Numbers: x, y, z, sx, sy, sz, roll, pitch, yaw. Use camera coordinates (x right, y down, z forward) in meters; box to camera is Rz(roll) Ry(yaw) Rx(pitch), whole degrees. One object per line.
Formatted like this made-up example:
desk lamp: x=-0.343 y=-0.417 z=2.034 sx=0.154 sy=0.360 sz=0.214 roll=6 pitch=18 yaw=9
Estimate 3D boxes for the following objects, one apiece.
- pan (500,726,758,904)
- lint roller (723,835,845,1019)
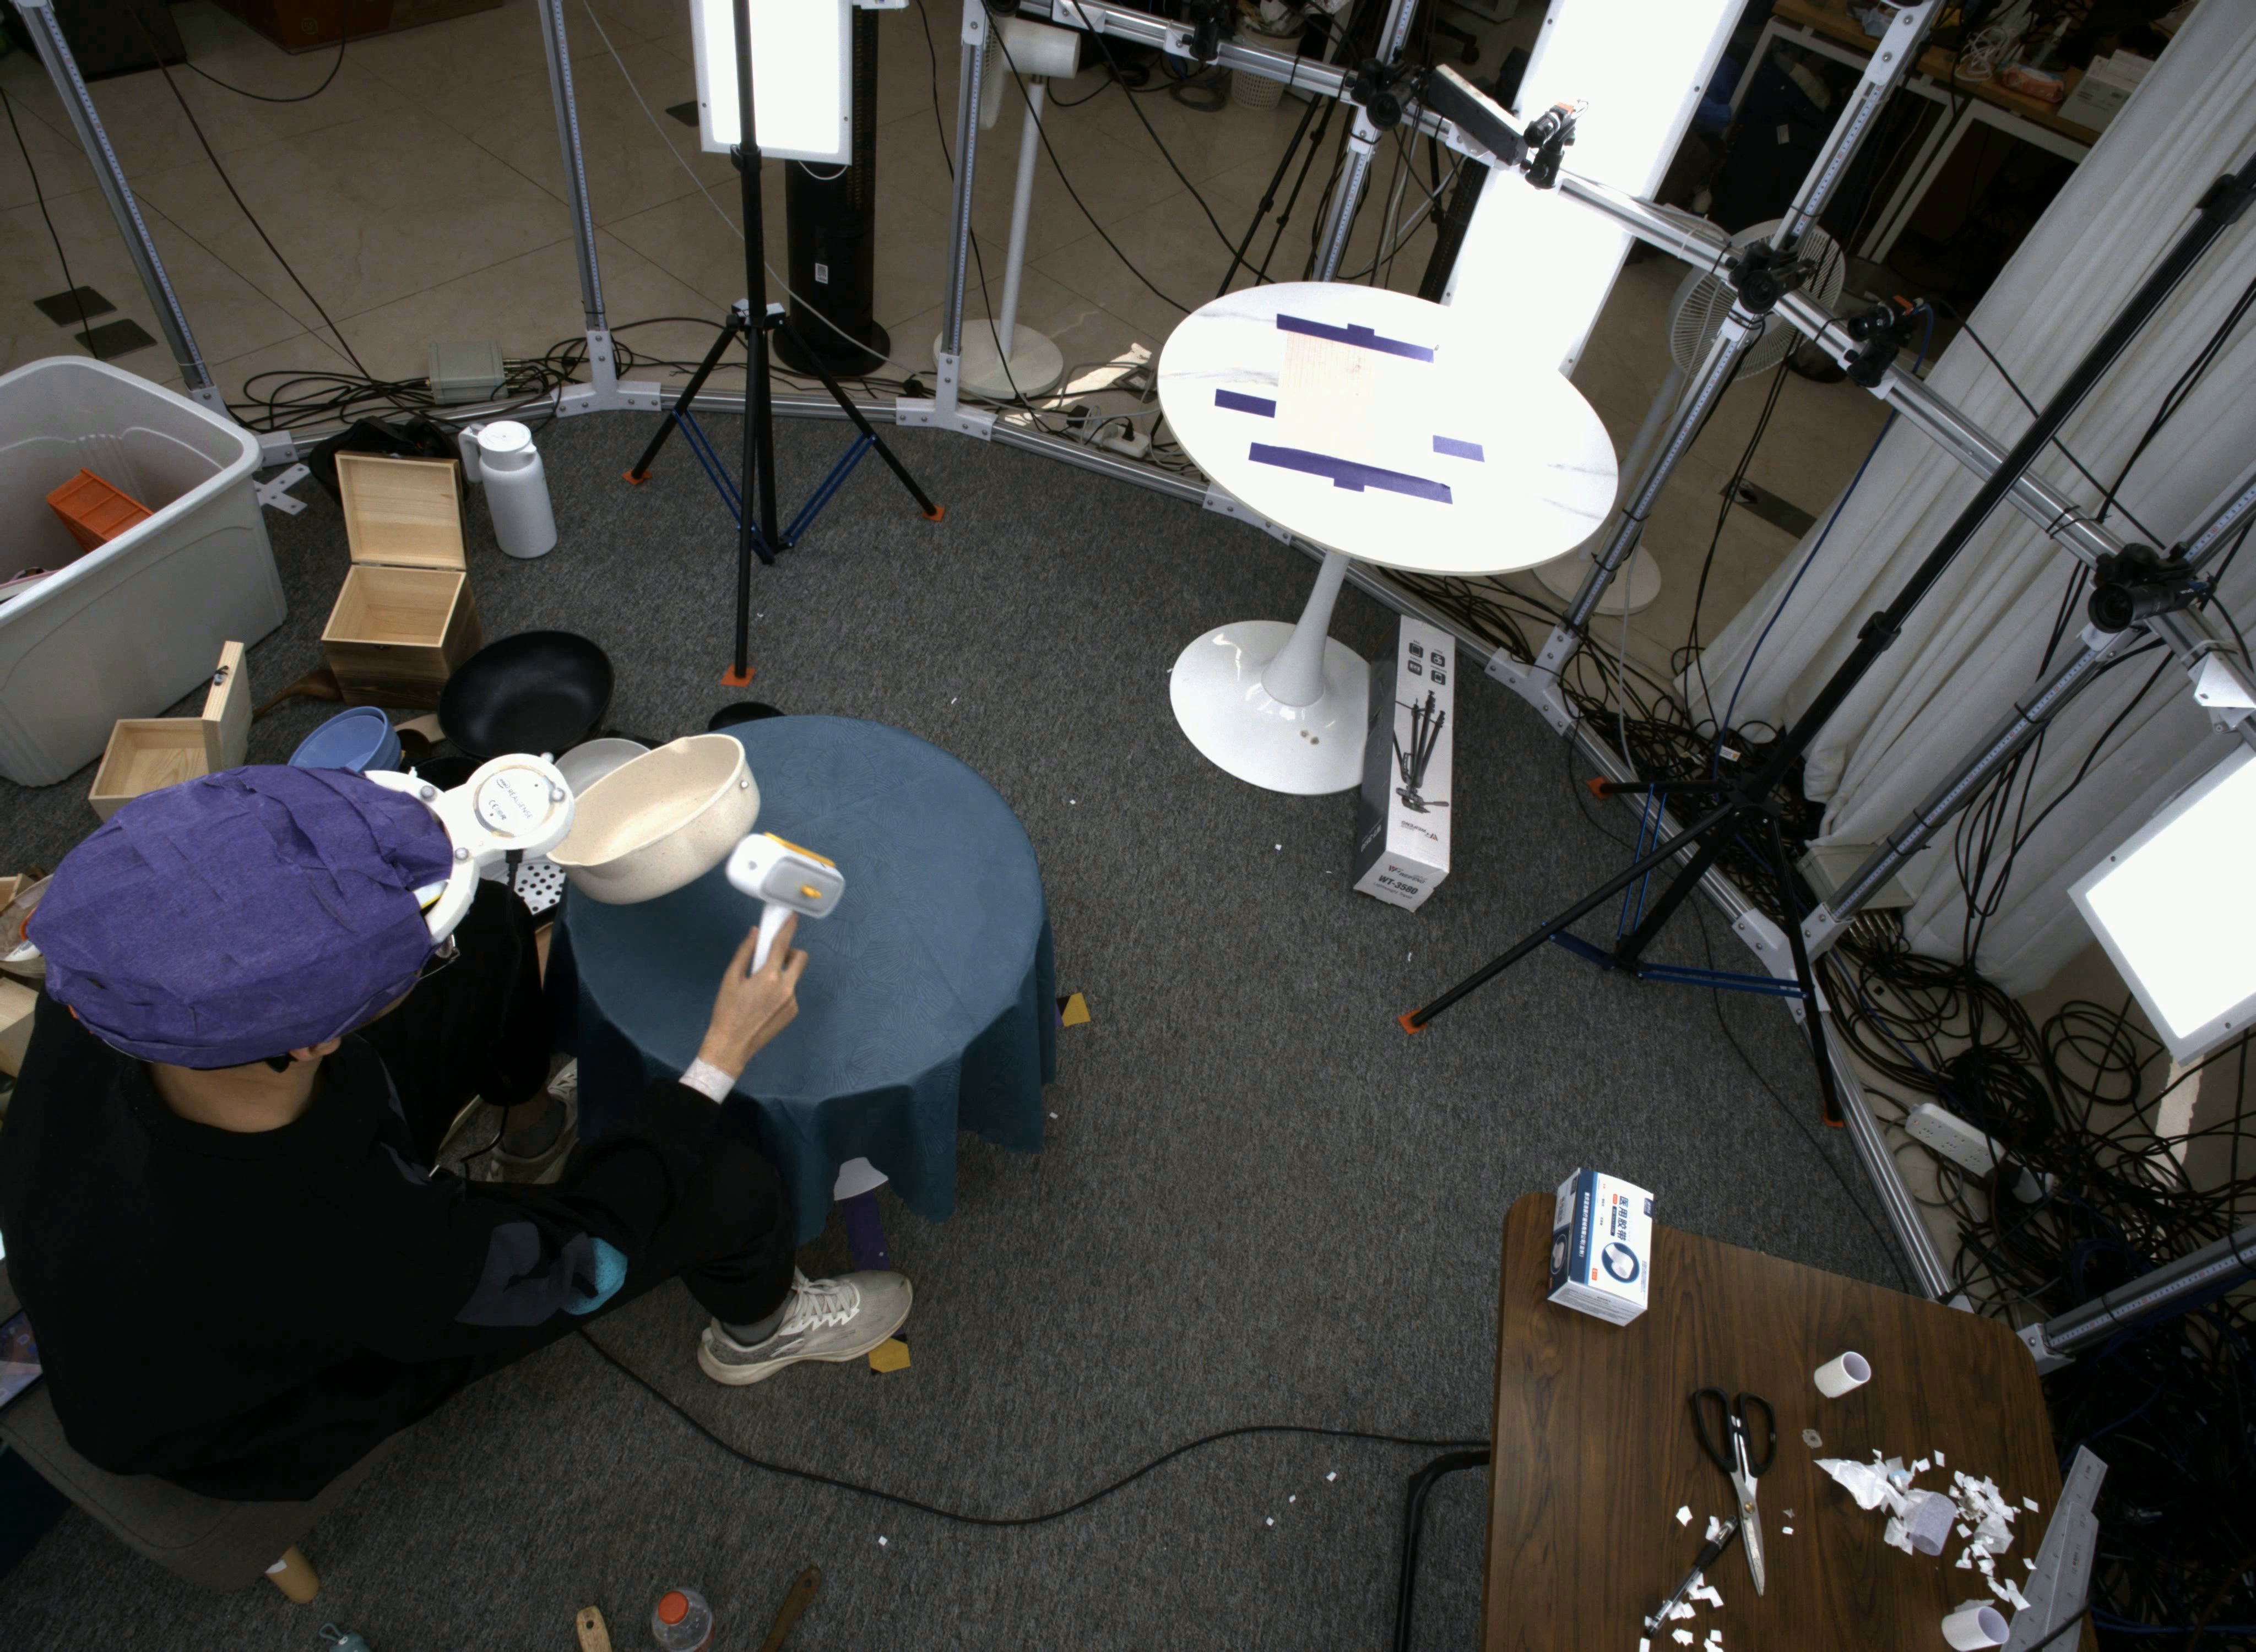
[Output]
pan: x=-0.634 y=0.009 z=1.514 sx=0.427 sy=0.106 sz=0.258 roll=-15 pitch=35 yaw=12
lint roller: x=-0.396 y=0.114 z=1.447 sx=0.072 sy=0.195 sz=0.194 roll=21 pitch=87 yaw=12
